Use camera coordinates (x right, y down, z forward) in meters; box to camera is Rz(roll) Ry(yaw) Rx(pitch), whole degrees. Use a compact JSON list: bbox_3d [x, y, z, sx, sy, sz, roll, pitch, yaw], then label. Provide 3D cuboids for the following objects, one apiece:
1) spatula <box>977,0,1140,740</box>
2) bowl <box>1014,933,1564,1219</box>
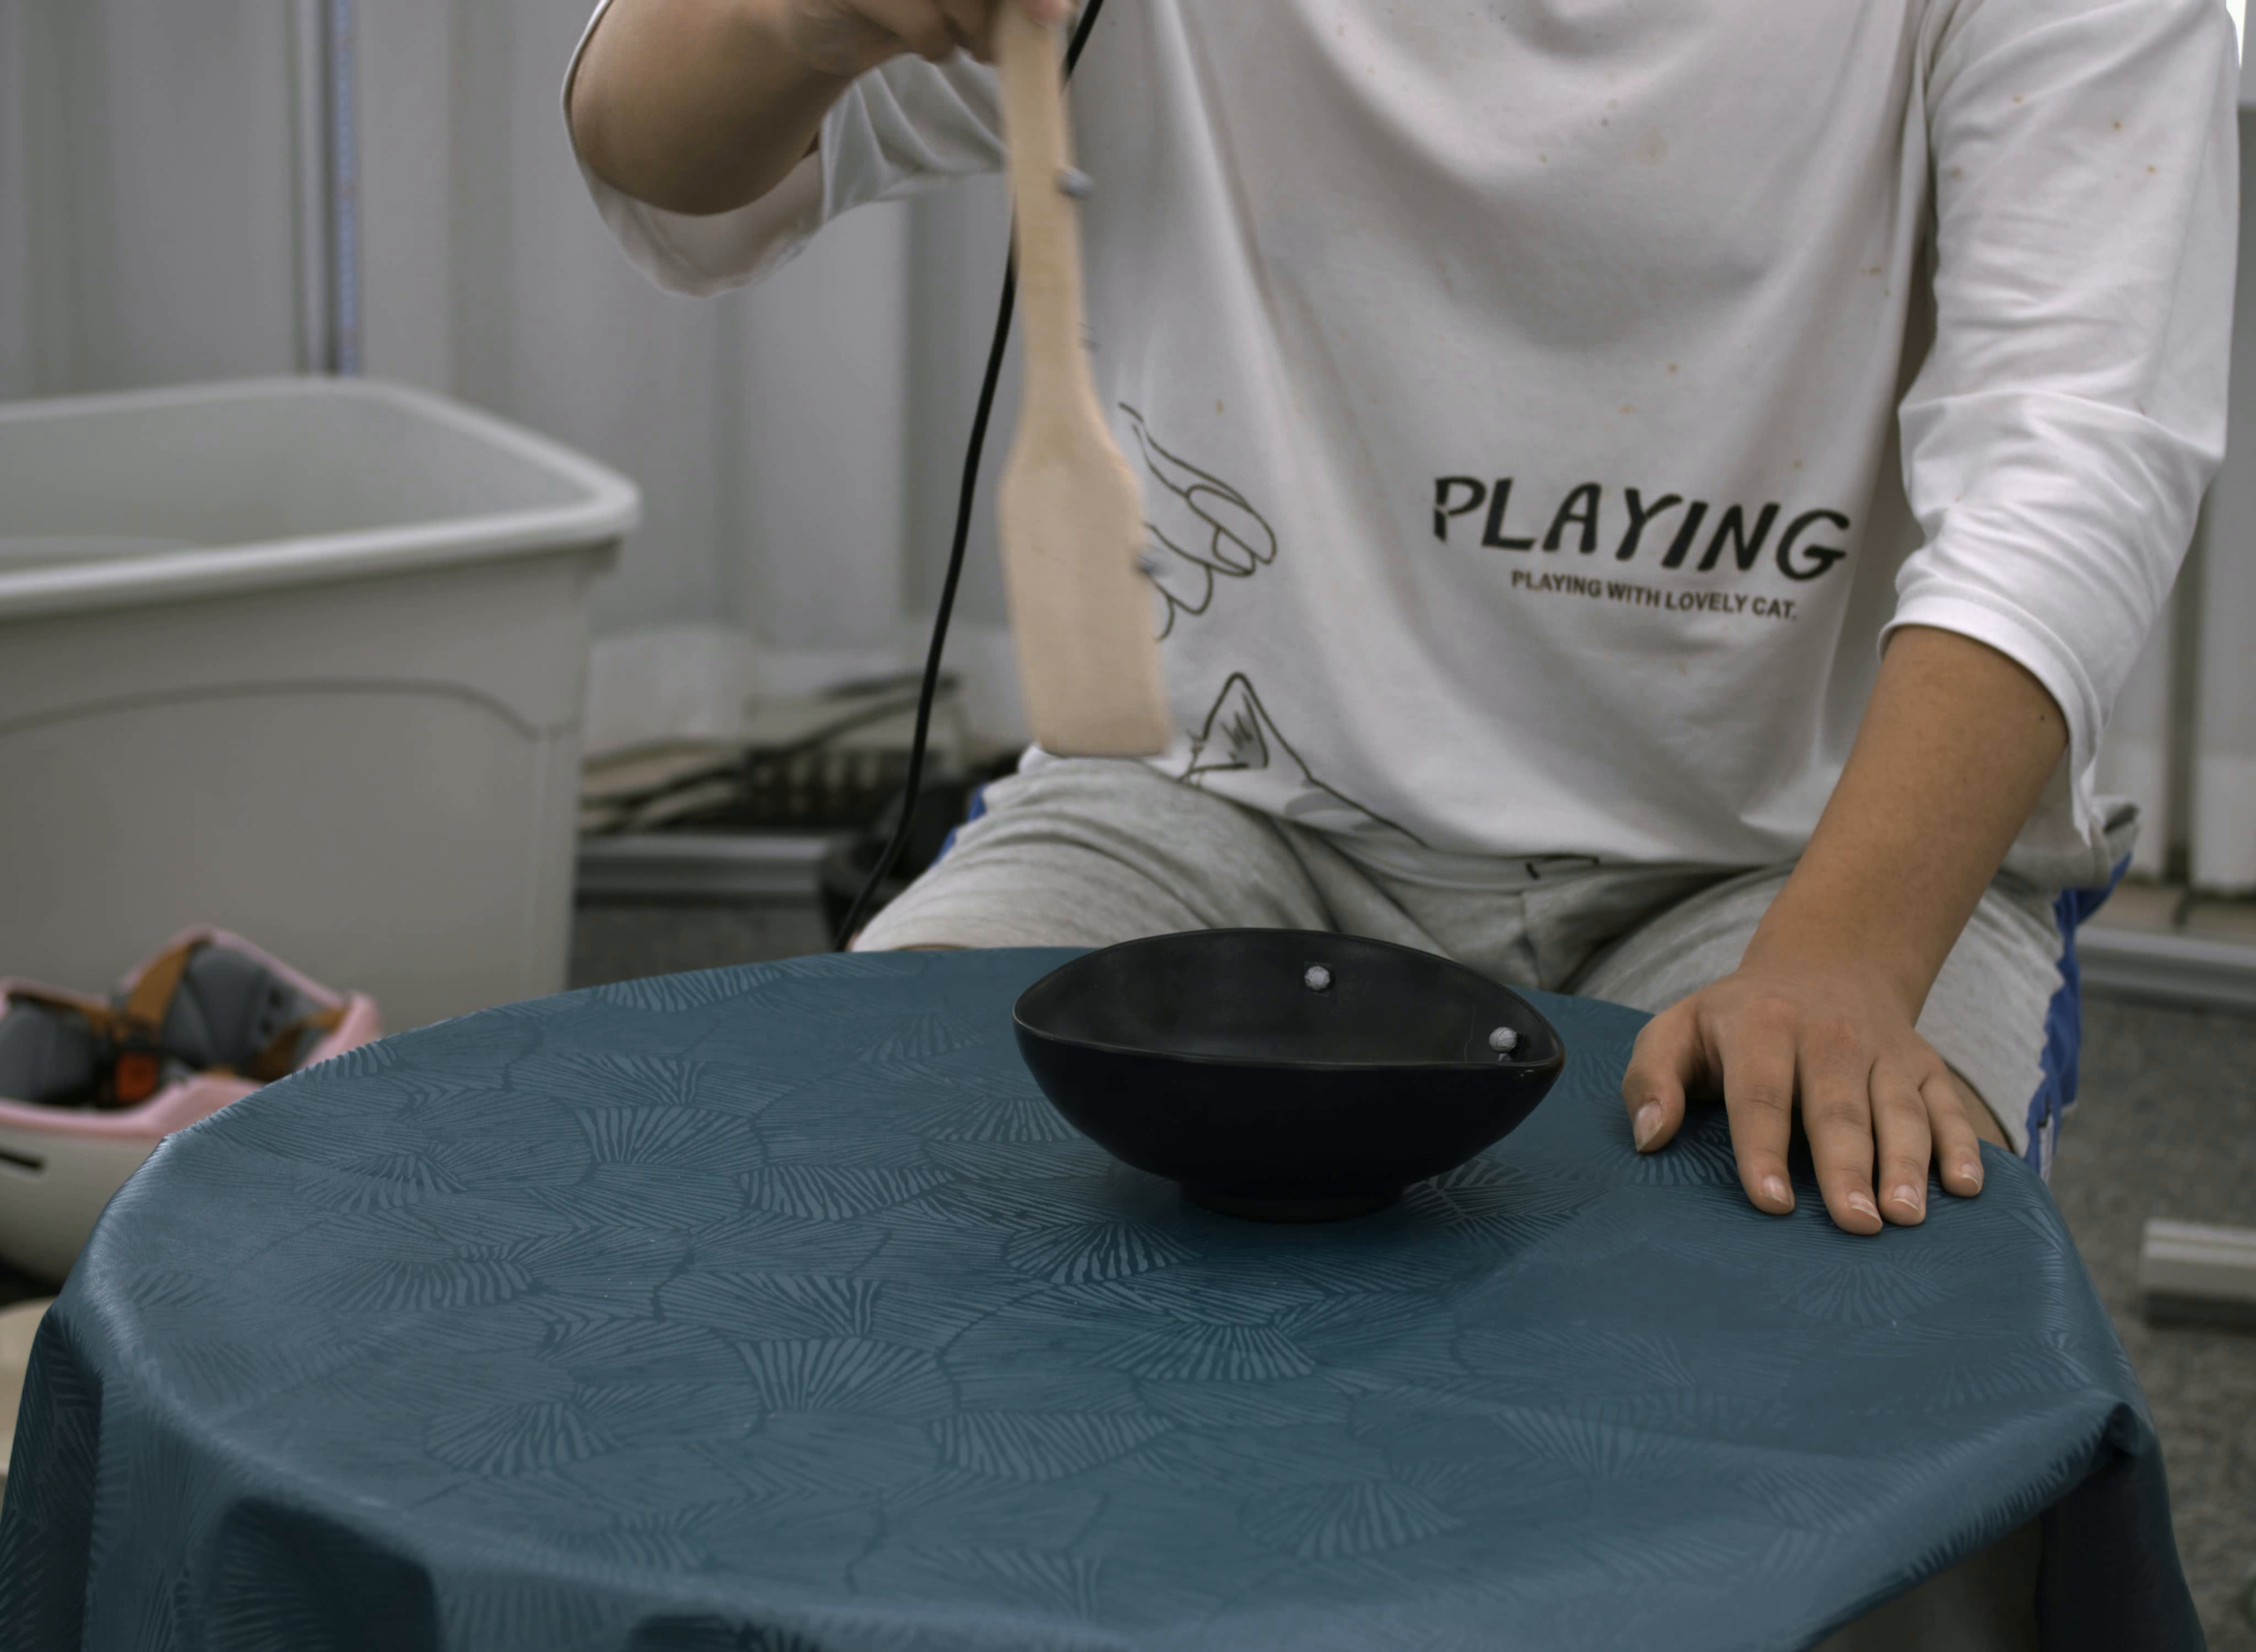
[{"bbox_3d":[-0.029,-0.171,1.567,0.011,0.294,0.071,-9,7,-33],"label":"spatula"},{"bbox_3d":[0.049,0.081,1.627,0.170,0.067,0.136,3,15,0],"label":"bowl"}]
